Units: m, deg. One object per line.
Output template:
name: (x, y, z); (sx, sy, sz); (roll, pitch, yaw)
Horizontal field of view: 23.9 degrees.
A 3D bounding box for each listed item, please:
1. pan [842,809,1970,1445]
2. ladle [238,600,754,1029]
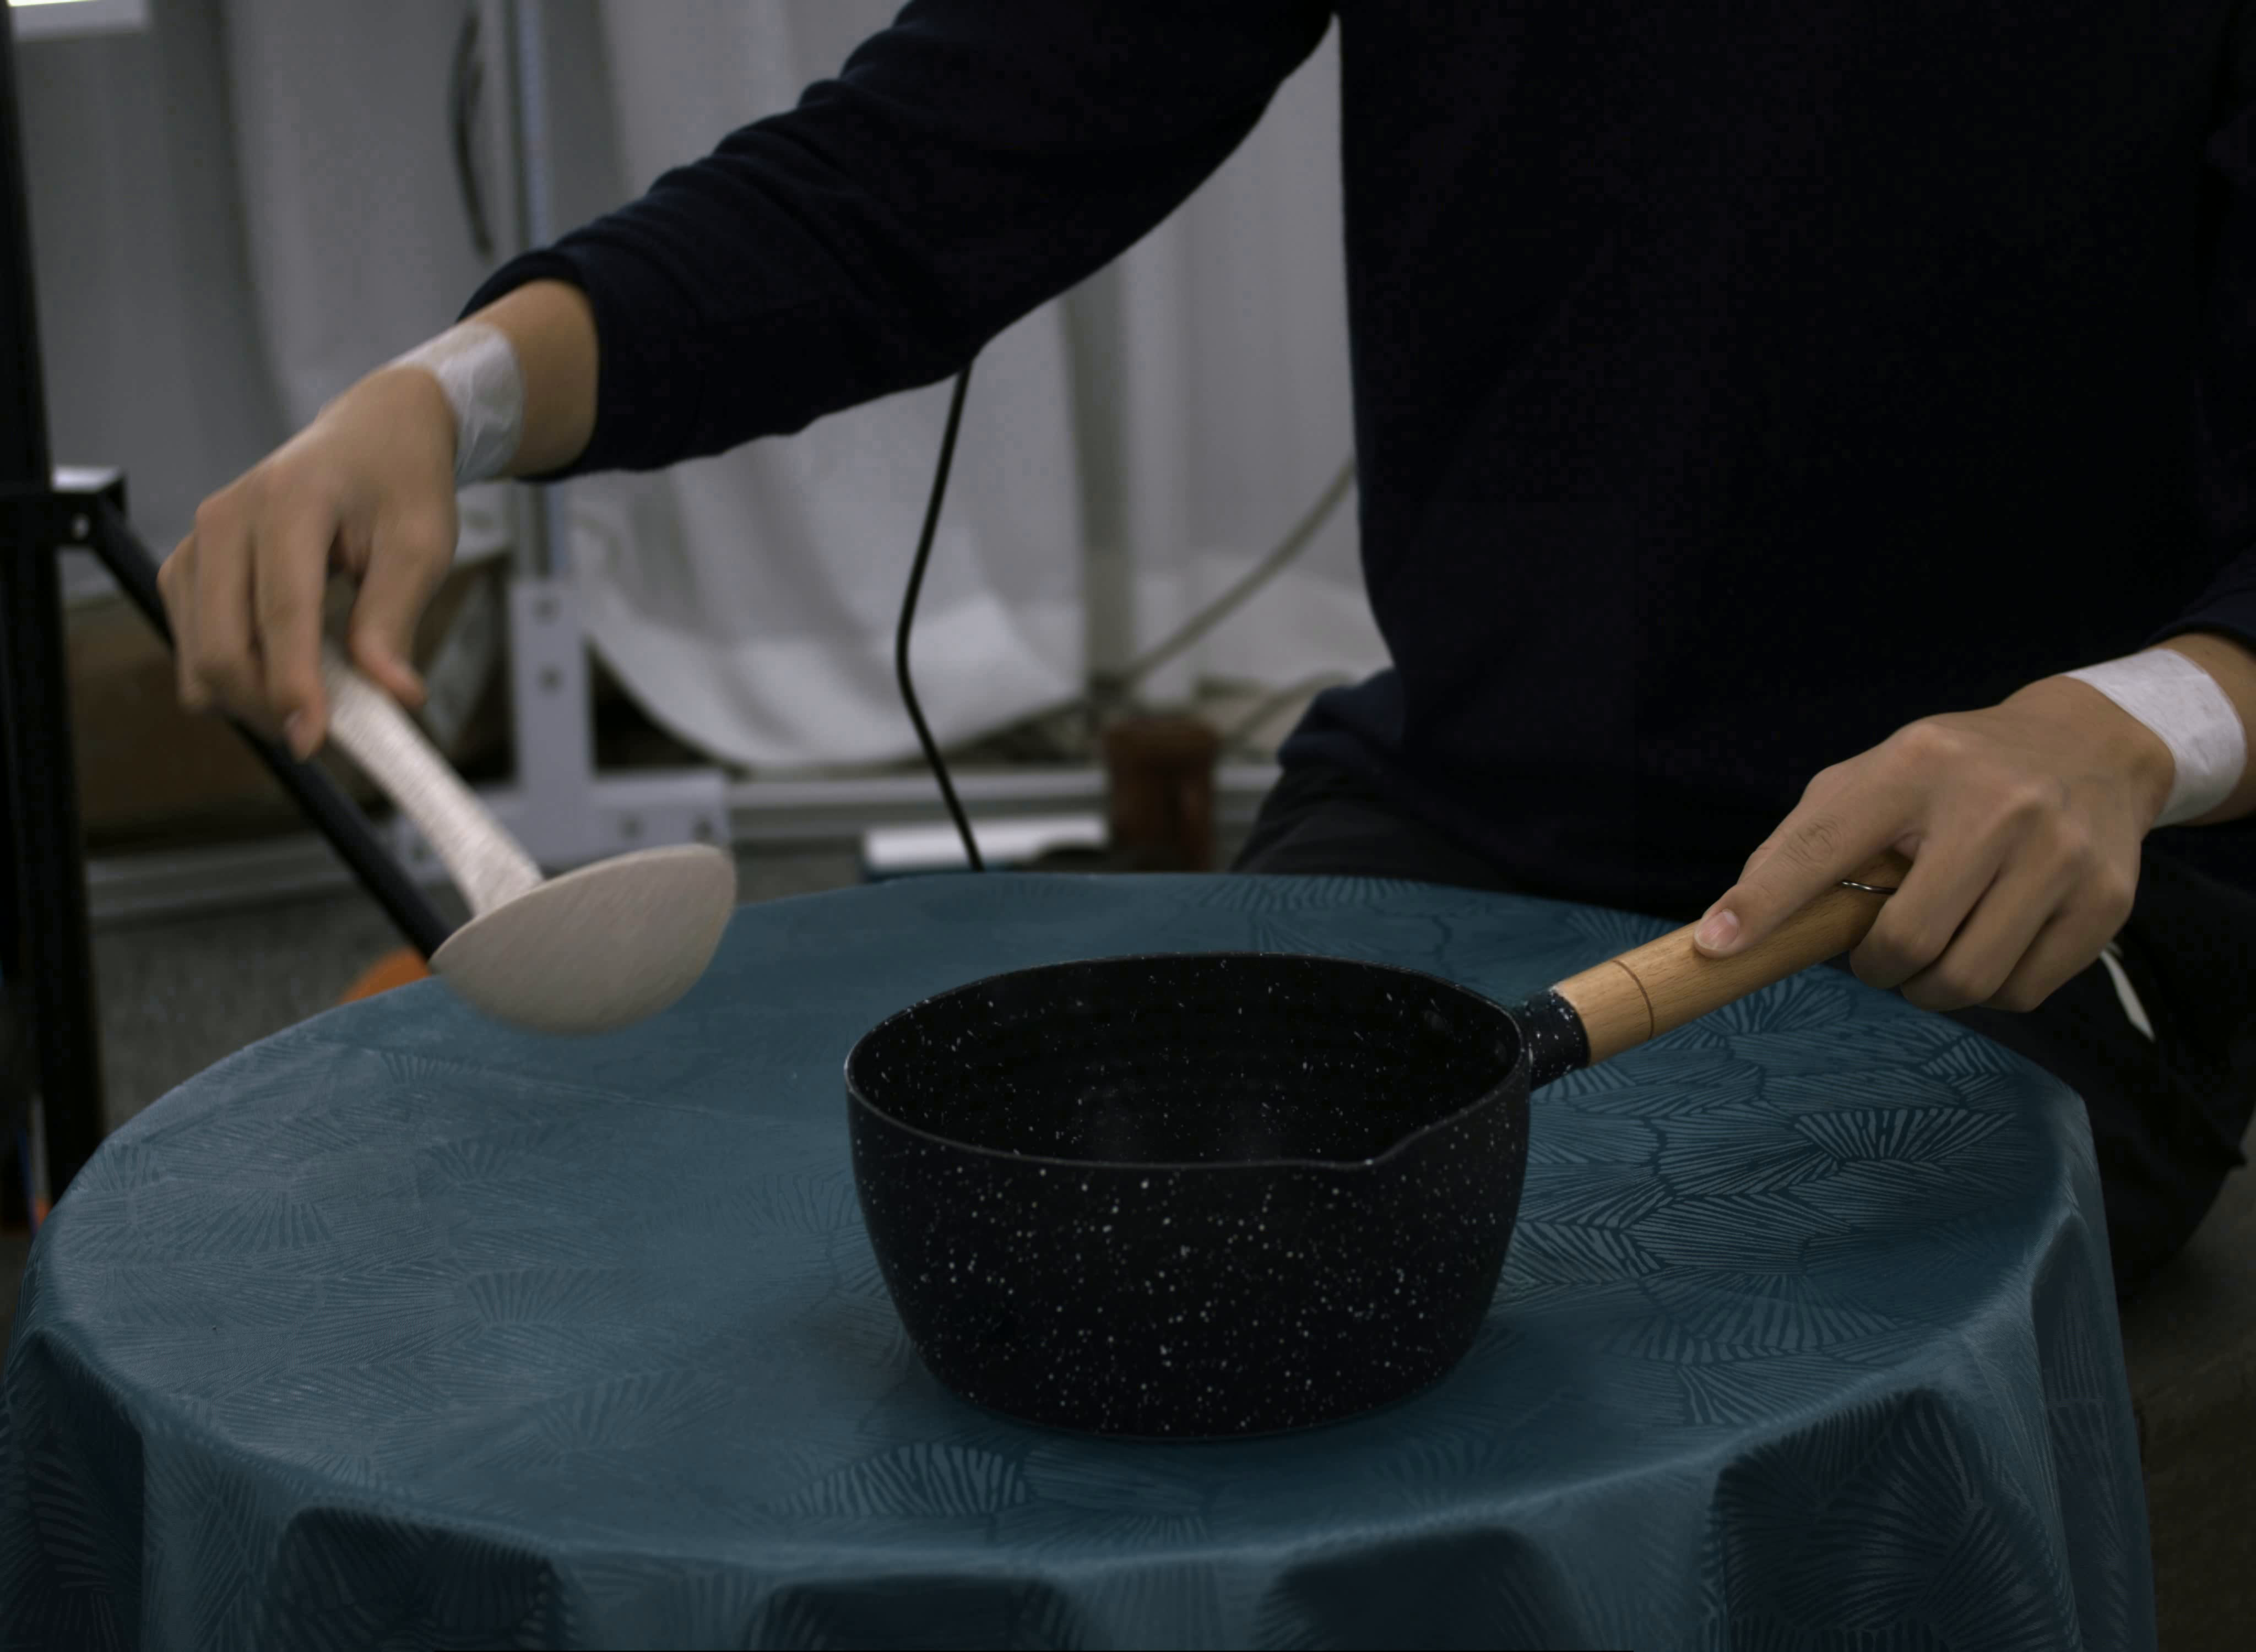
pan: (0.087, 0.076, 1.457); (0.336, 0.108, 0.212); (-12, 17, -25)
ladle: (-0.195, -0.028, 1.506); (0.088, 0.069, 0.281); (-18, 36, -23)
